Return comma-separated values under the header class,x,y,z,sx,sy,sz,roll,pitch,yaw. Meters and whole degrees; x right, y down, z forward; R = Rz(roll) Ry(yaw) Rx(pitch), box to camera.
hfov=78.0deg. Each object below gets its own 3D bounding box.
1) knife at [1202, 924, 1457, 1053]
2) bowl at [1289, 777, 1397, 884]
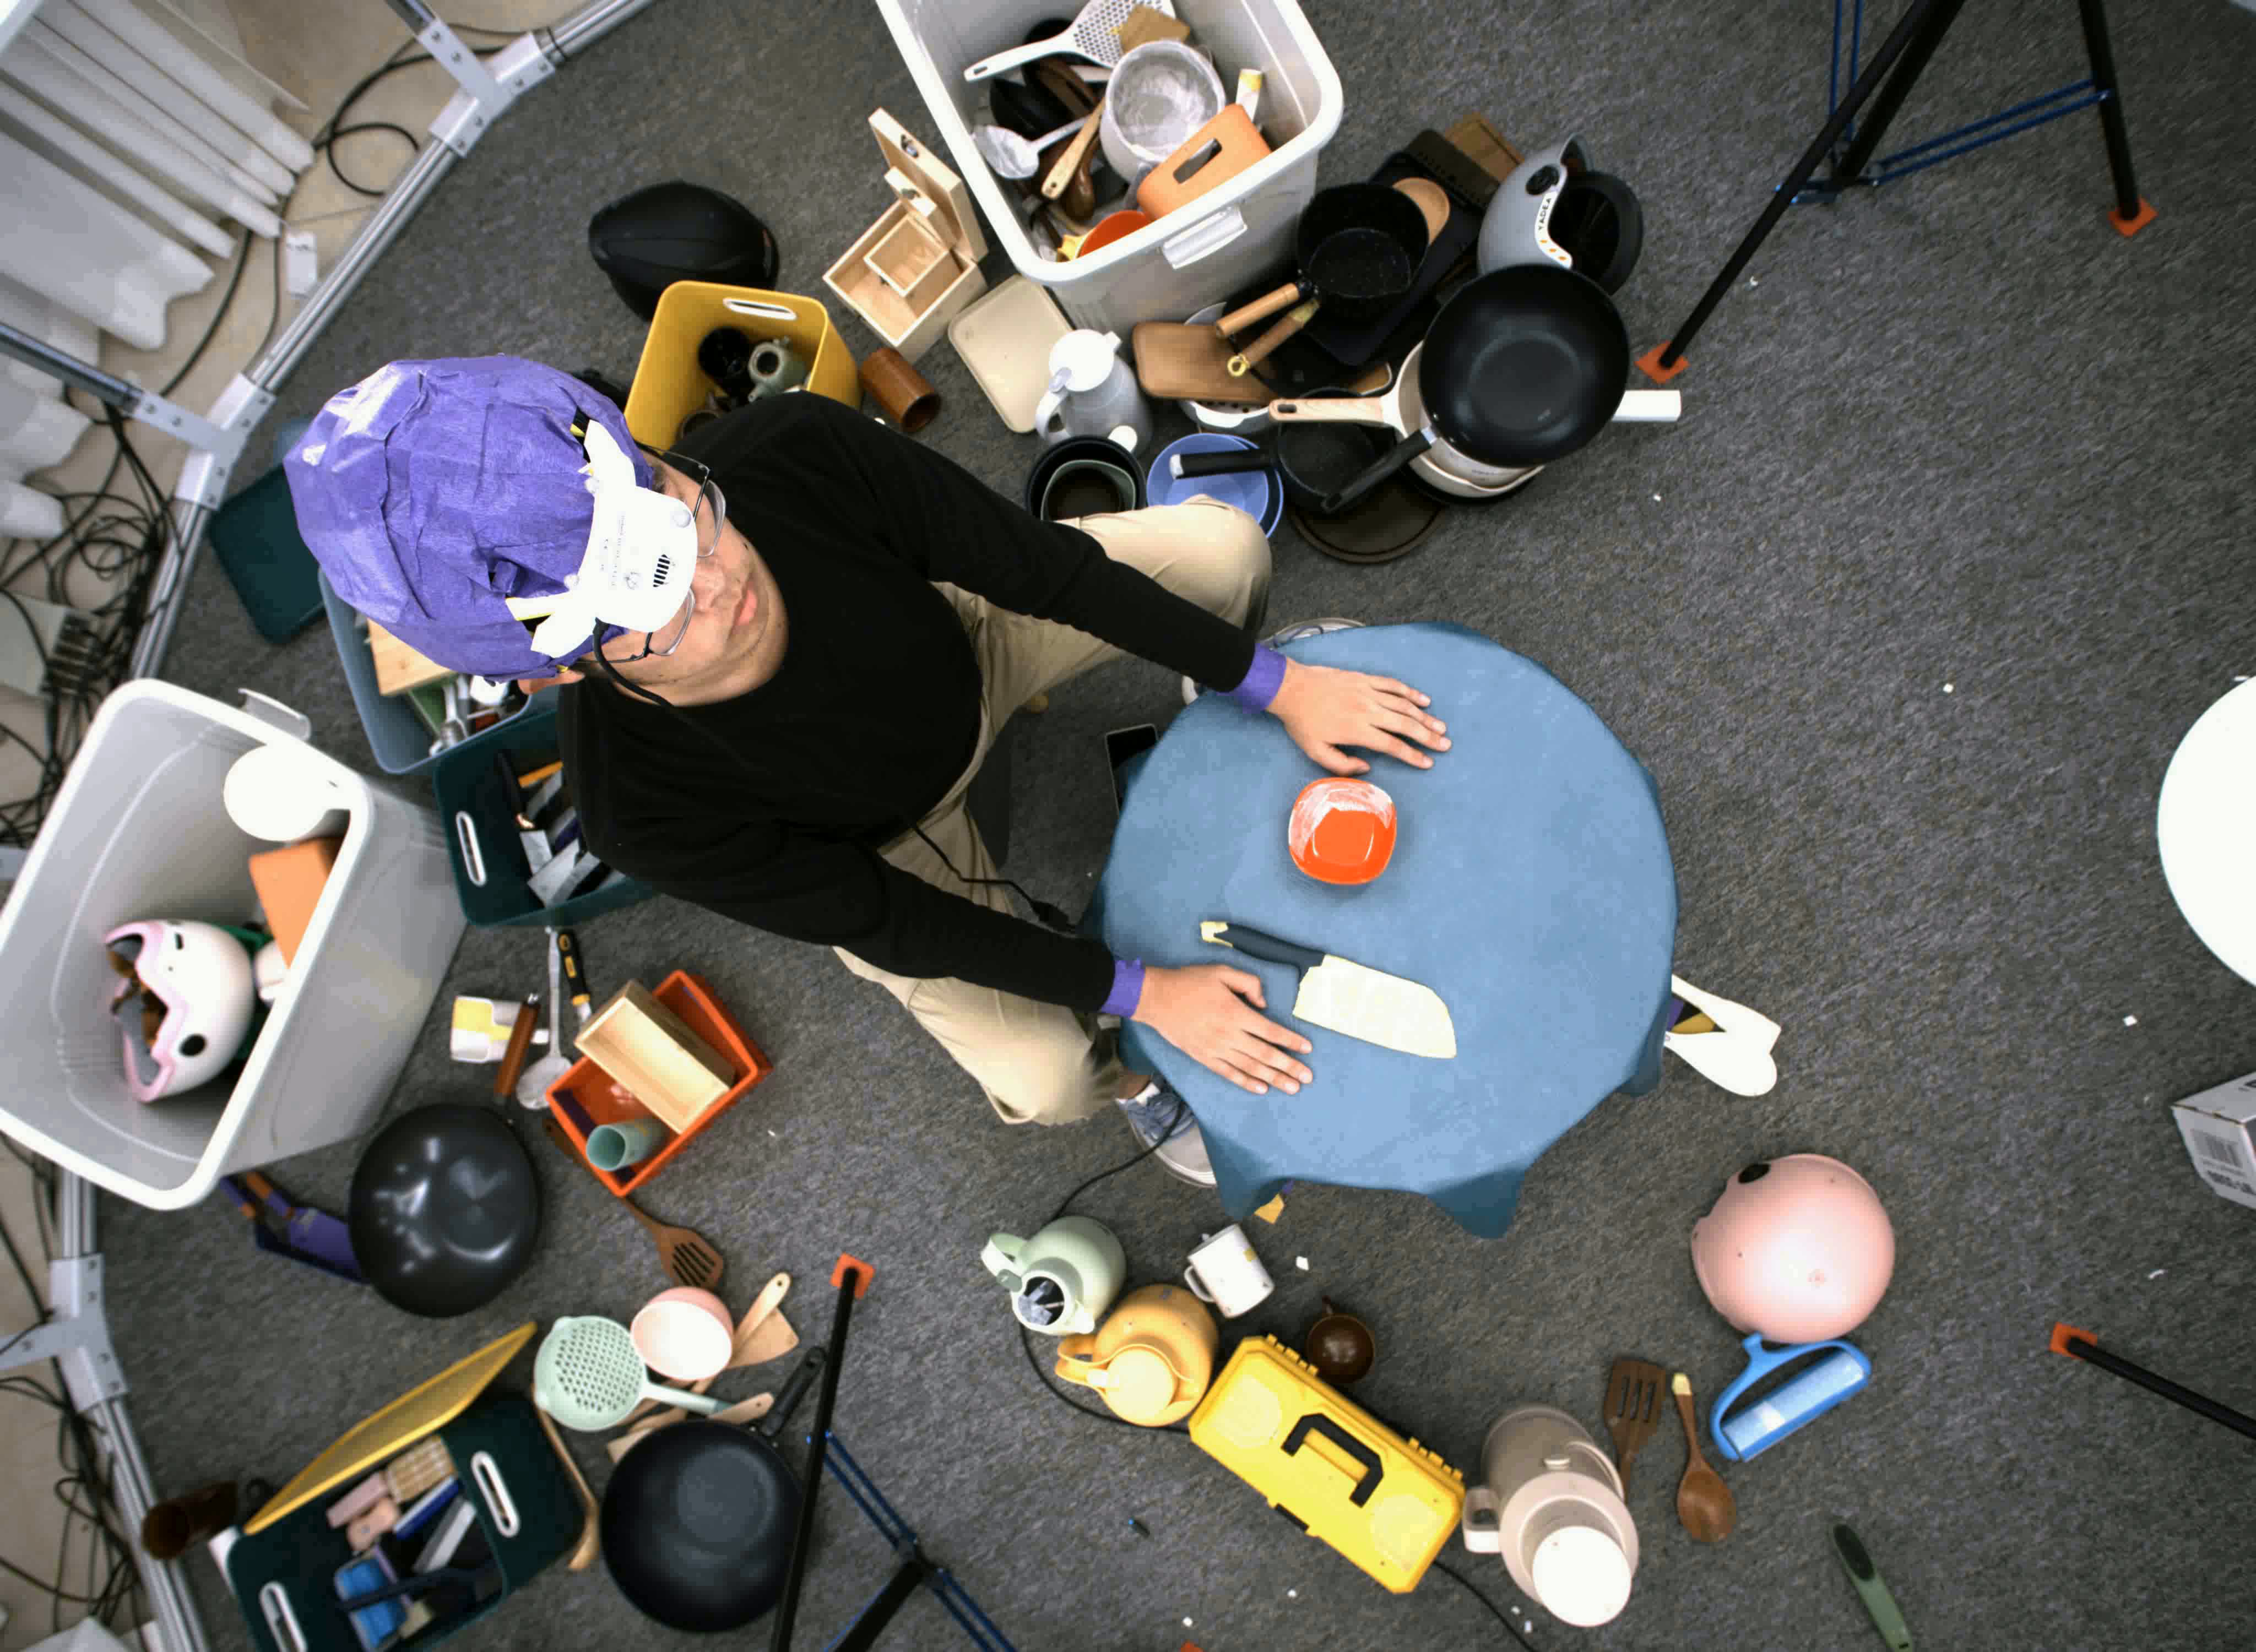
class,x,y,z,sx,sy,sz,roll,pitch,yaw
knife,0.209,0.169,1.461,0.289,0.027,0.081,21,89,10
bowl,0.225,0.005,1.446,0.119,0.051,0.118,0,88,10
